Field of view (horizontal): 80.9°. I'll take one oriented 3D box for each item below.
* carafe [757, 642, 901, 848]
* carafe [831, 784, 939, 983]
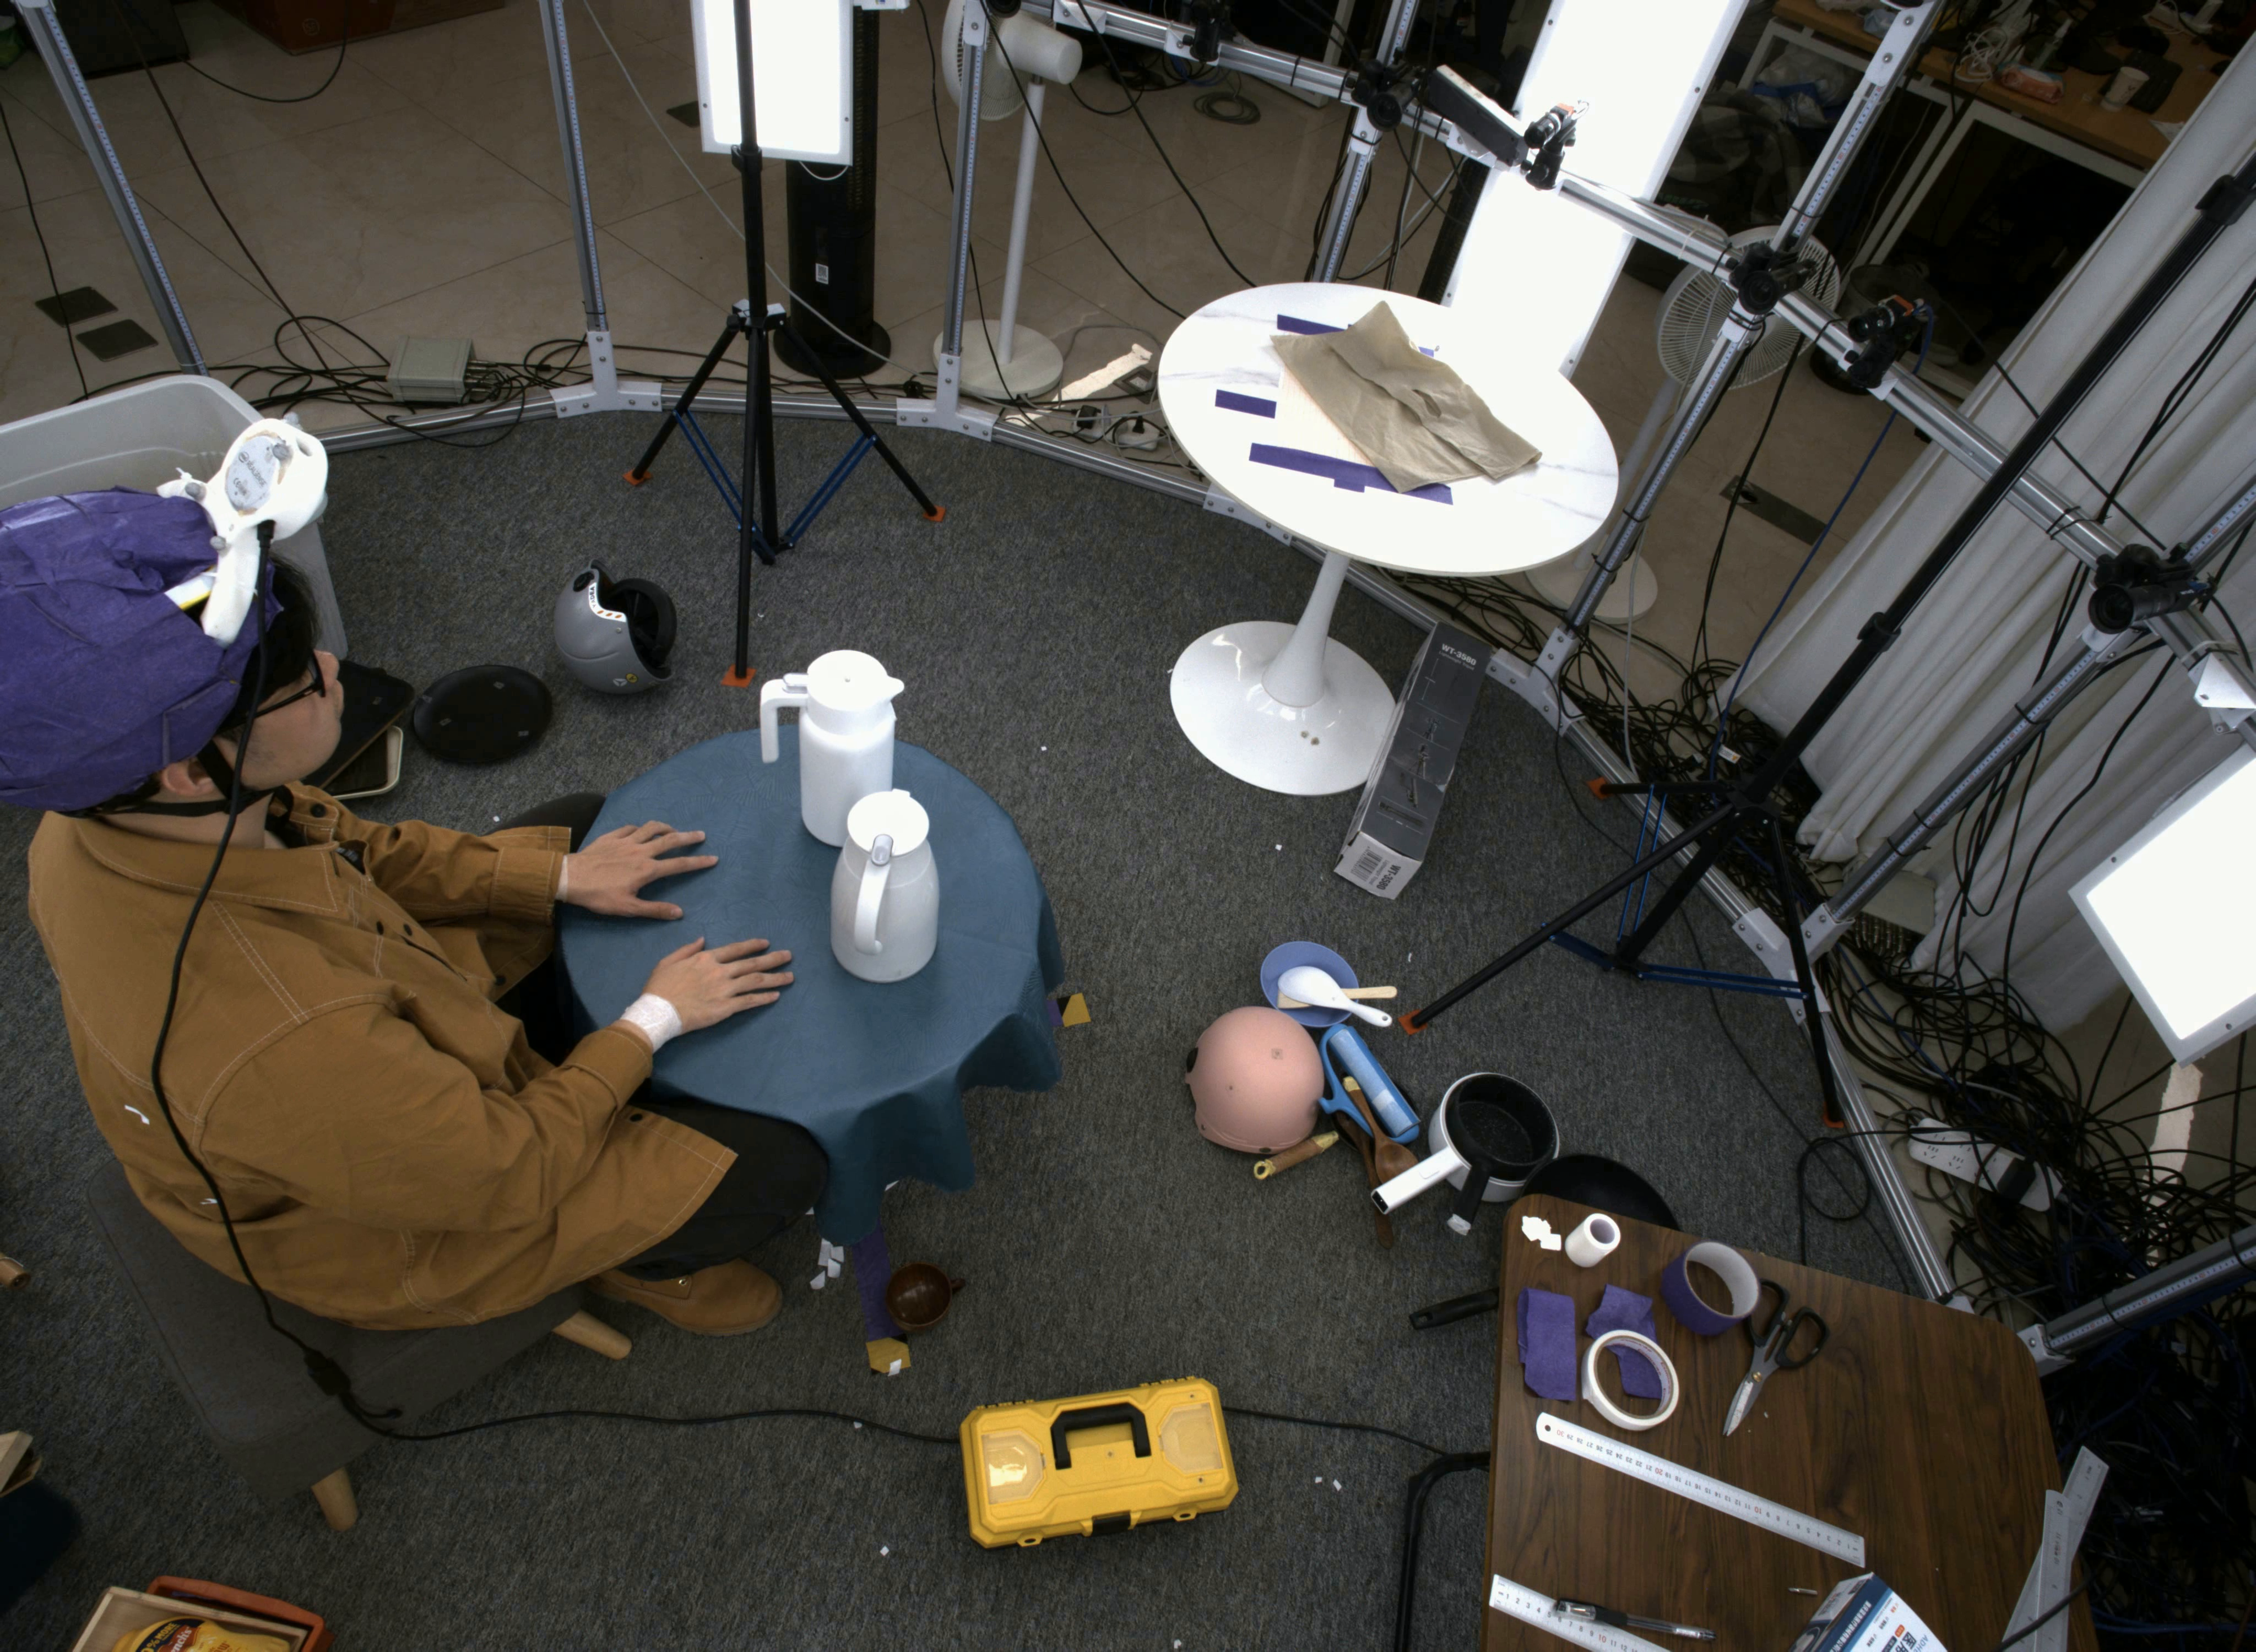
[{"bbox_3d":[-0.375,-0.097,1.634,0.173,0.274,0.121,-2,55,-14],"label":"carafe"},{"bbox_3d":[-0.291,0.078,1.536,0.132,0.254,0.165,11,52,-3],"label":"carafe"}]
